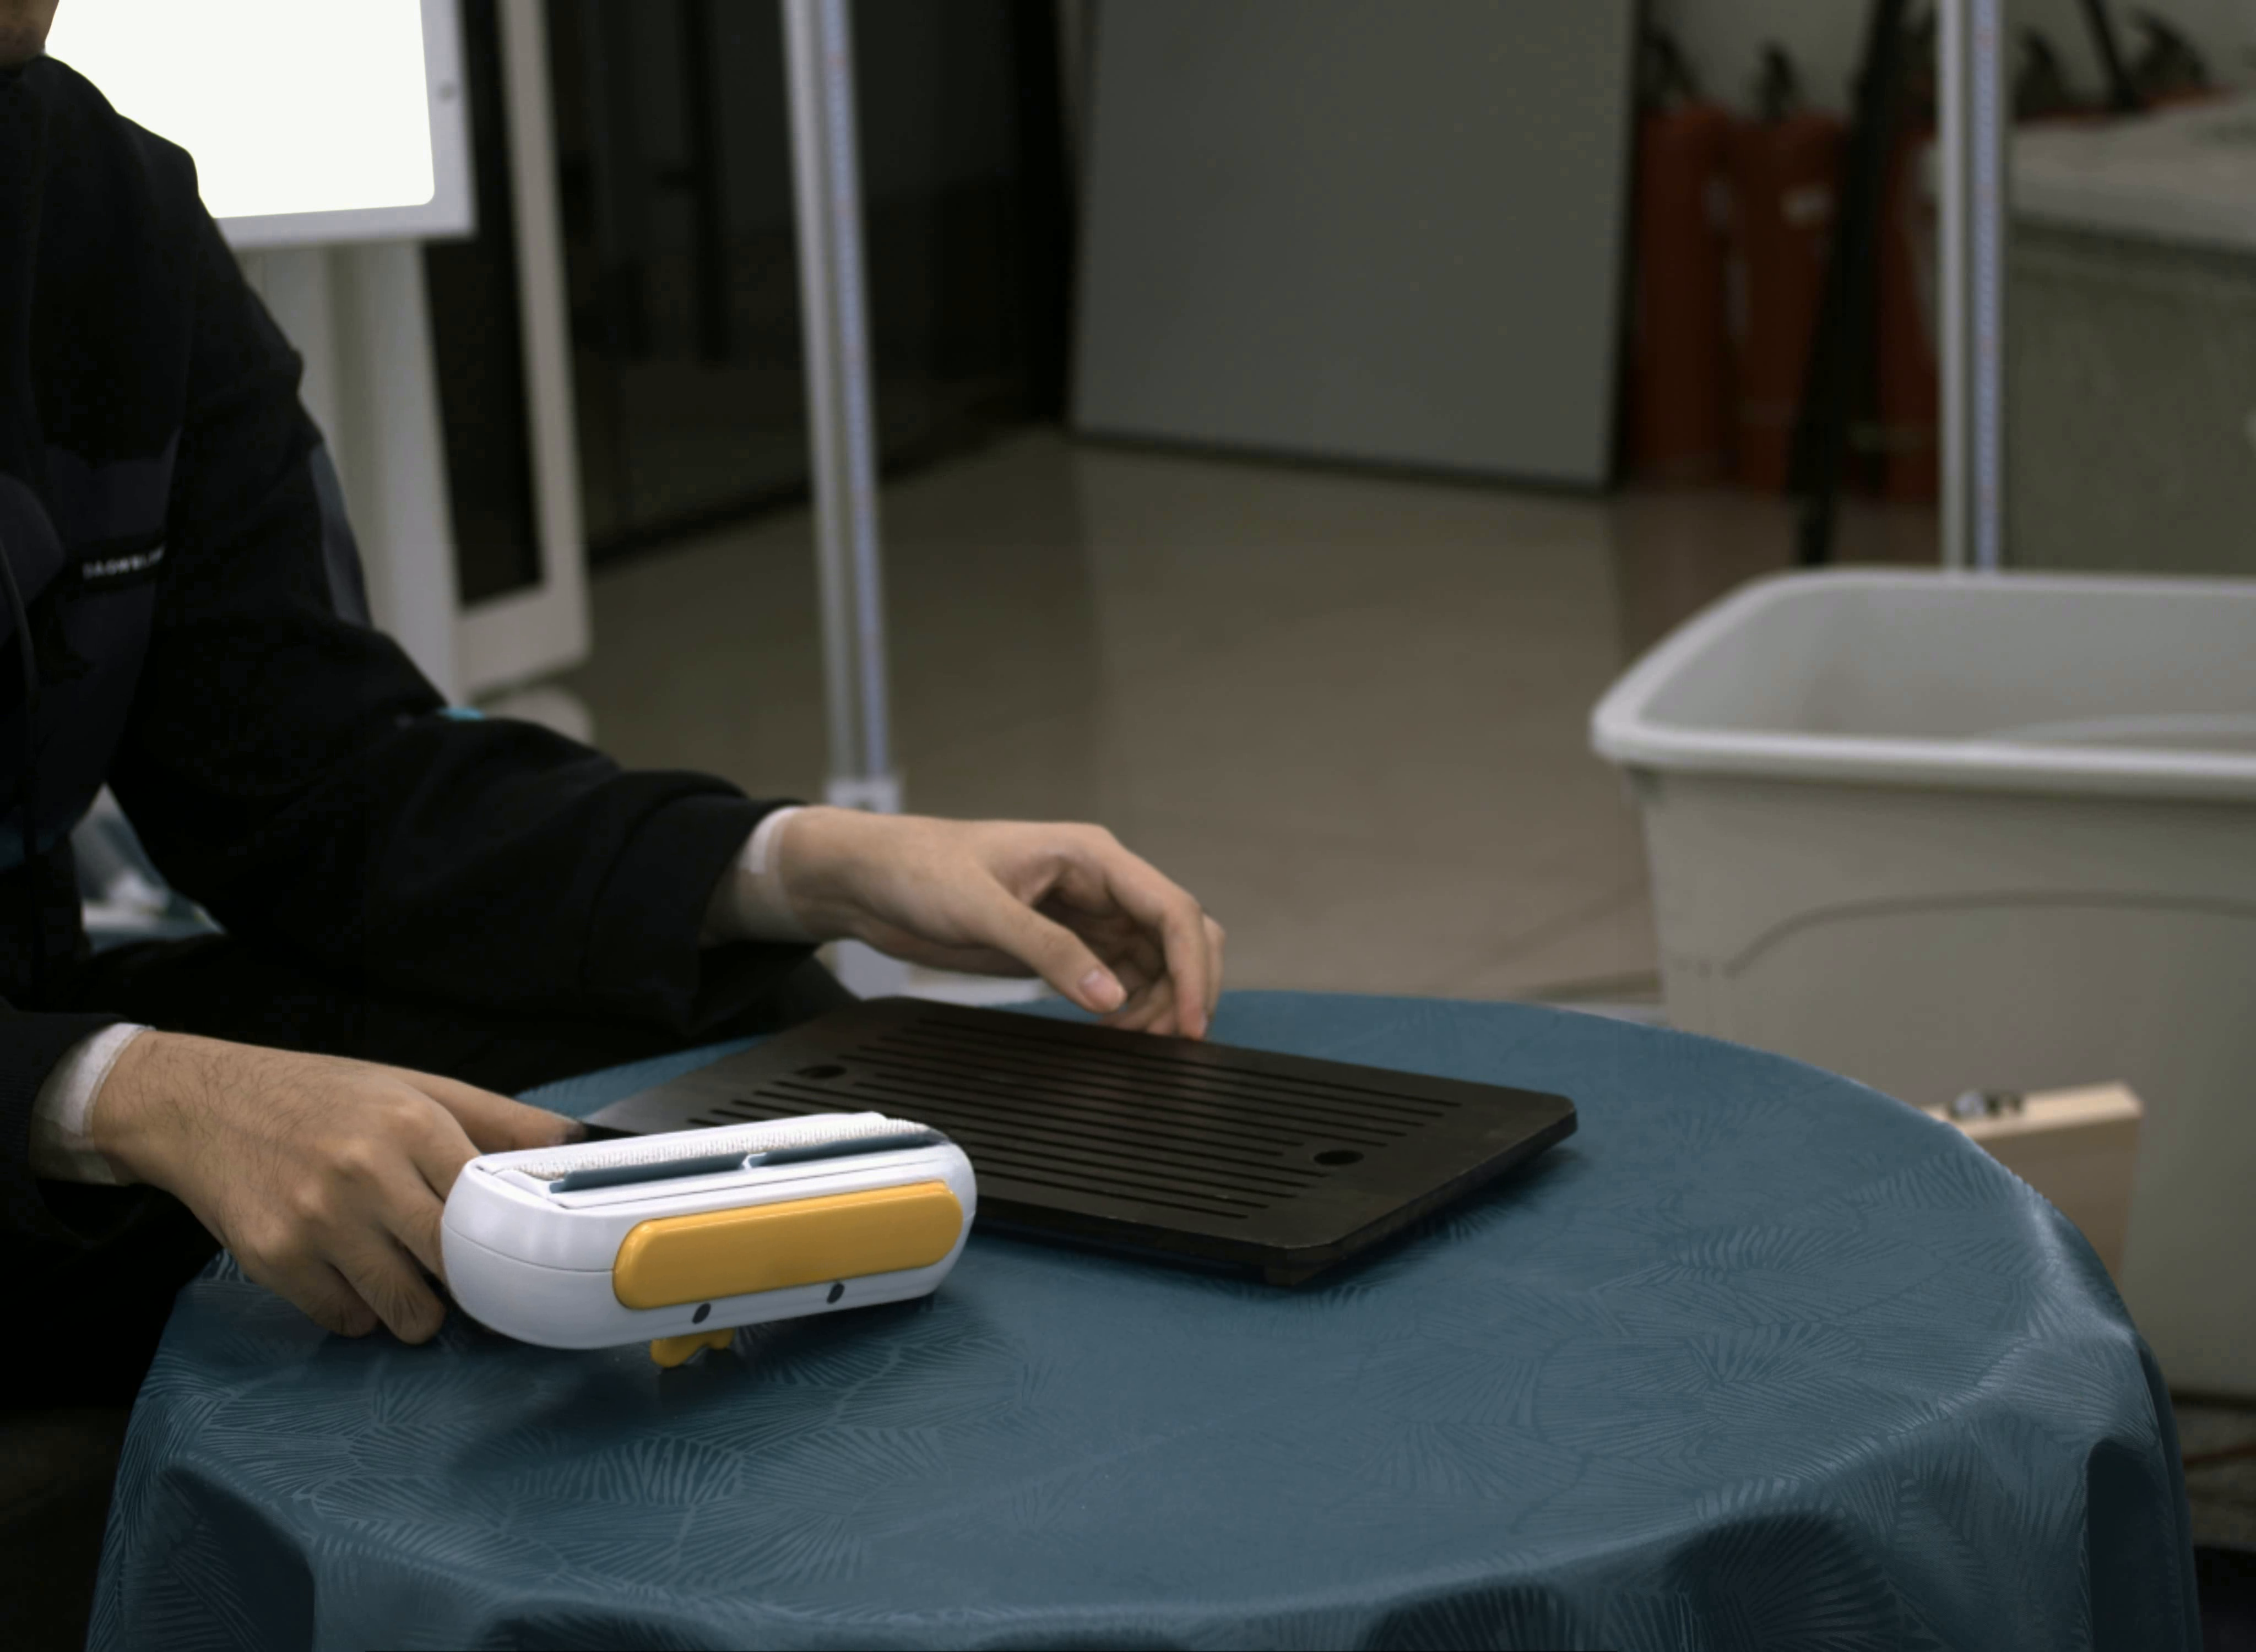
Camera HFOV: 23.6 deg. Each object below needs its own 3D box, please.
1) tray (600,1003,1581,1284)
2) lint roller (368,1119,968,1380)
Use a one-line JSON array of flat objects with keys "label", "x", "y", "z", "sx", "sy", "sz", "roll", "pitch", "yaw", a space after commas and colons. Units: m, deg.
[{"label": "tray", "x": -0.014, "y": 0.104, "z": 1.809, "sx": 0.308, "sy": 0.019, "sz": 0.167, "roll": 6, "pitch": 17, "yaw": 37}, {"label": "lint roller", "x": -0.169, "y": 0.123, "z": 1.672, "sx": 0.188, "sy": 0.075, "sz": 0.194, "roll": -9, "pitch": 12, "yaw": -43}]
